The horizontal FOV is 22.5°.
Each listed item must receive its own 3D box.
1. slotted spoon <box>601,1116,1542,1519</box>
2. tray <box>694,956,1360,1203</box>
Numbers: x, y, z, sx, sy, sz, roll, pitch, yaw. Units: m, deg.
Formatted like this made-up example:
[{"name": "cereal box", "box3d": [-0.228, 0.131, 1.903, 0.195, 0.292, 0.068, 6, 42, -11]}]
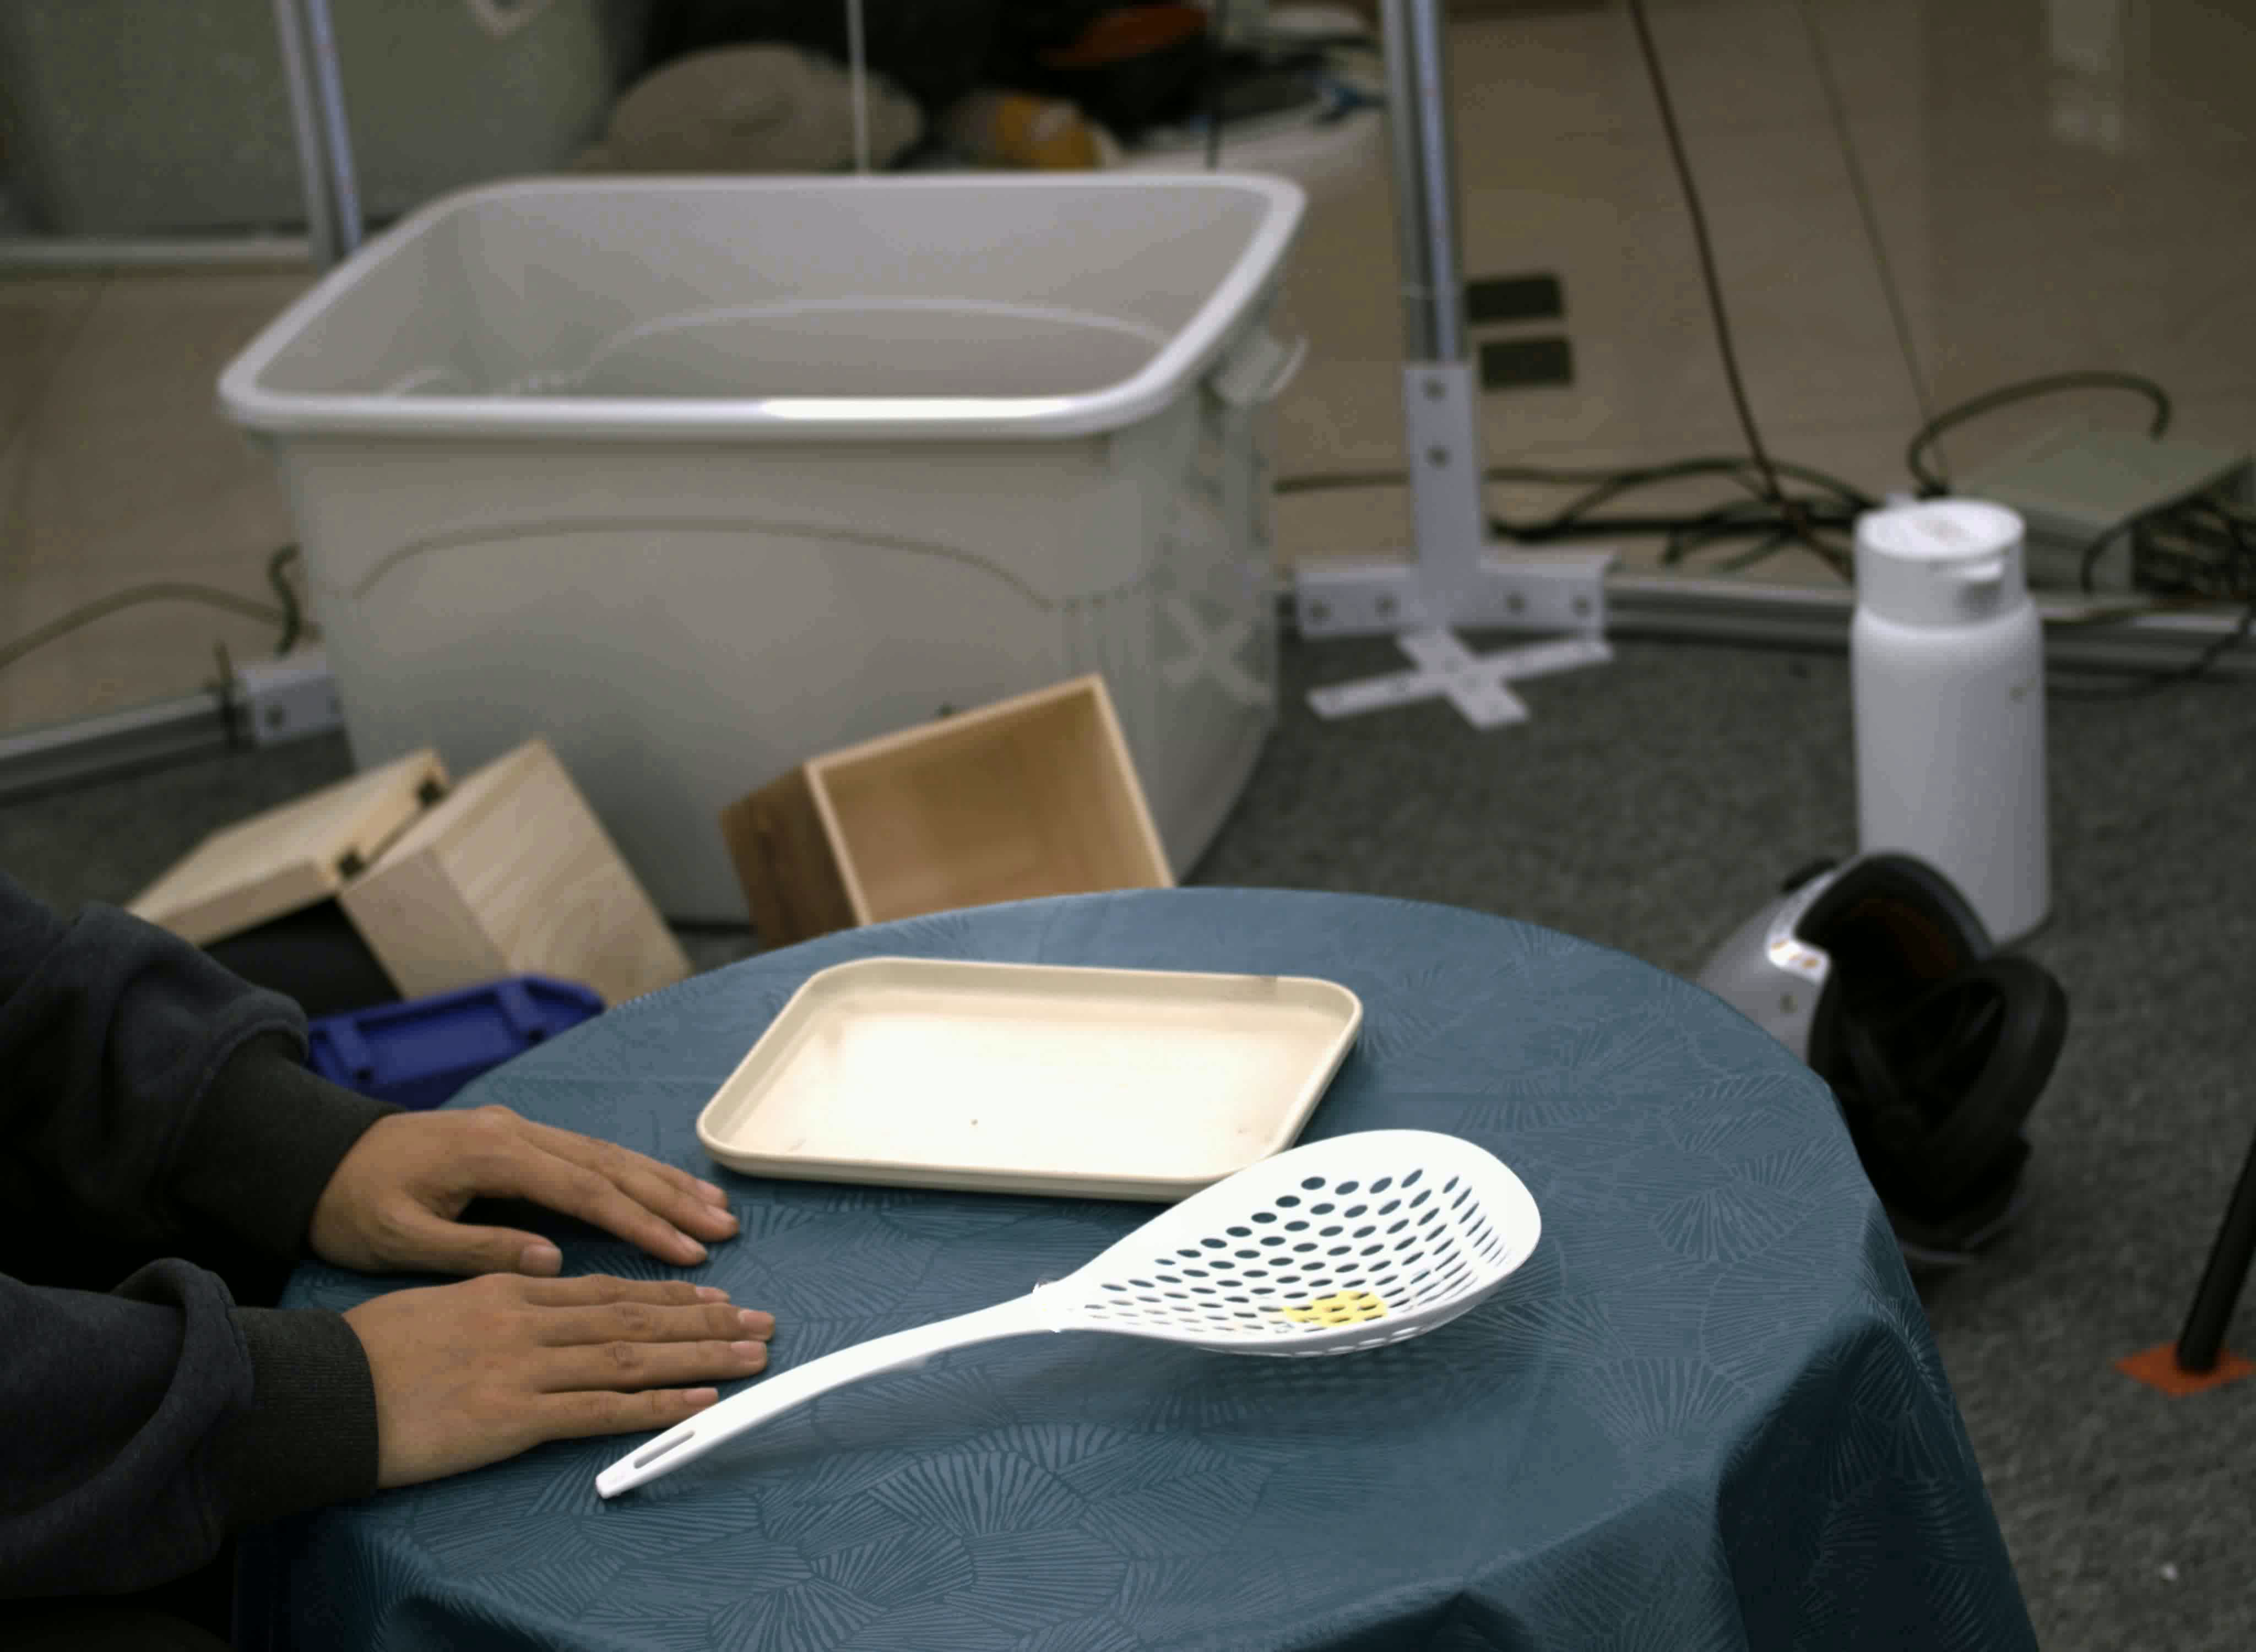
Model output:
[{"name": "slotted spoon", "box3d": [-0.022, 0.181, 2.012, 0.347, 0.051, 0.135, -12, 27, -12]}, {"name": "tray", "box3d": [-0.038, 0.099, 2.220, 0.239, 0.018, 0.169, 2, 27, 19]}]
